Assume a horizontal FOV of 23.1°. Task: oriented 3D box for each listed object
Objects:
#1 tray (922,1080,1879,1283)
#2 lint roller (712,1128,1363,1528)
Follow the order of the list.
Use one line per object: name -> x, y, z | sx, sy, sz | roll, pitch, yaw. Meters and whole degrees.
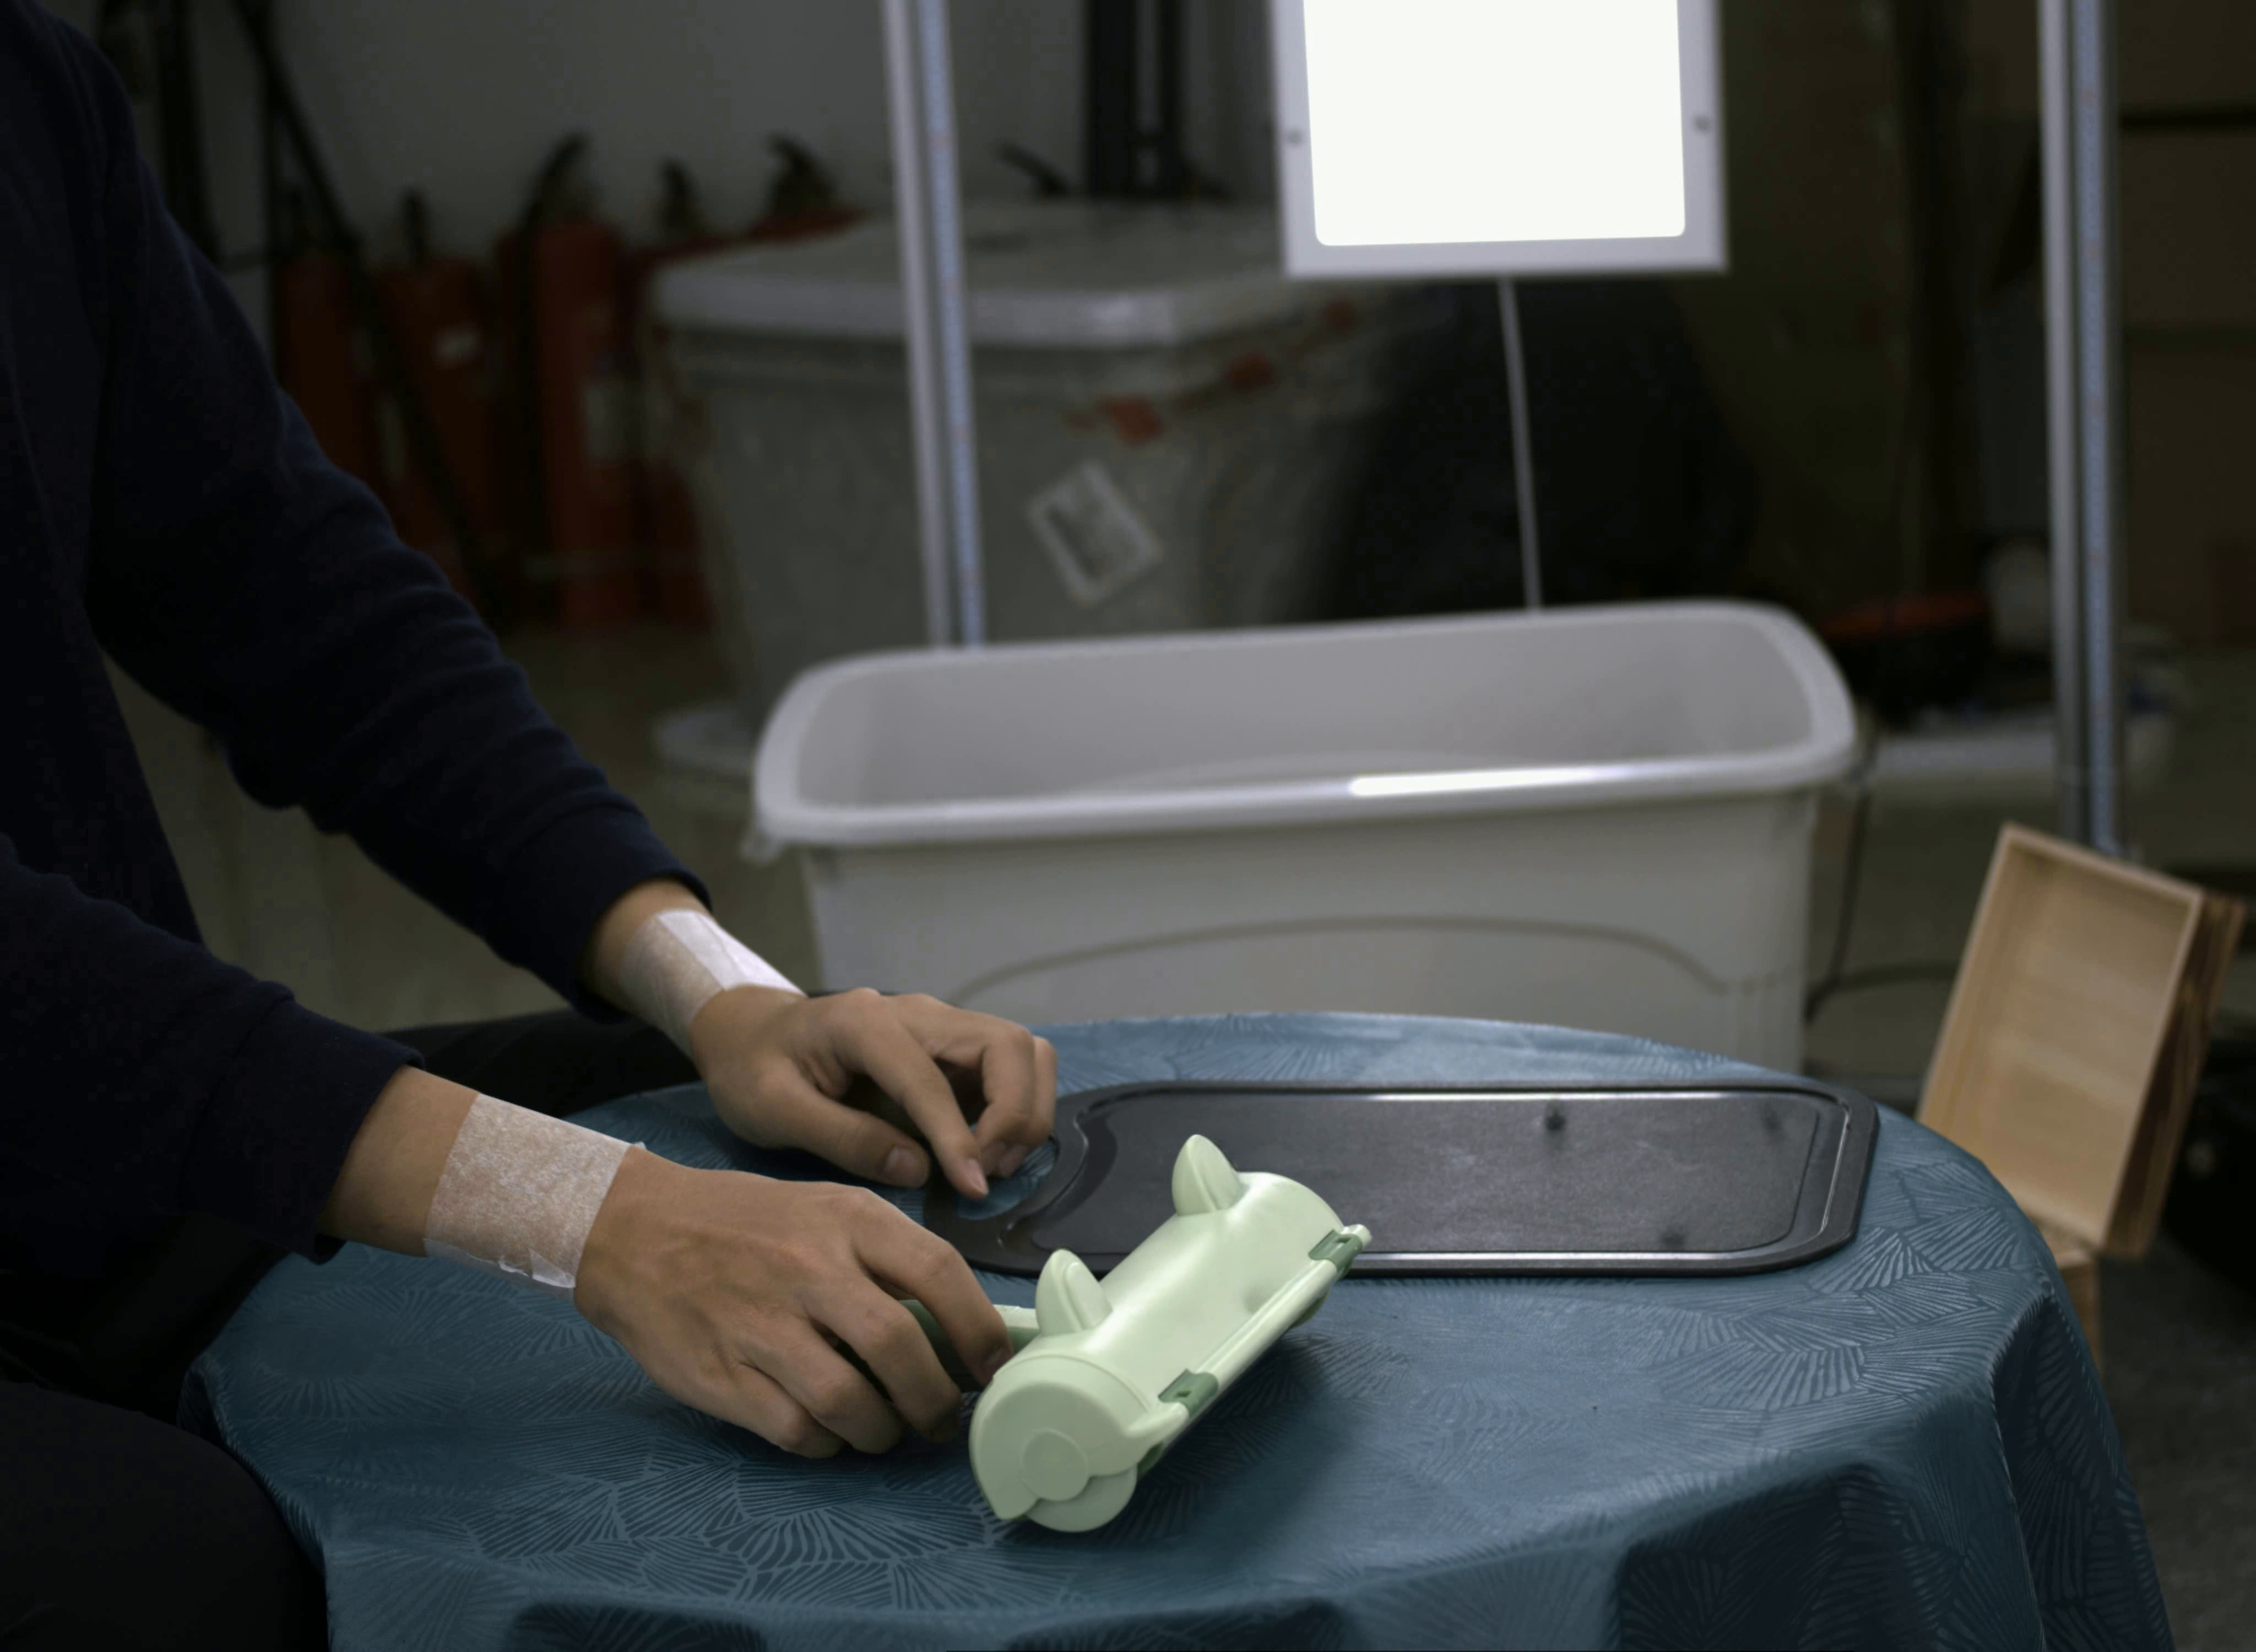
tray -> 0.091, 0.118, 1.883 | 0.328, 0.010, 0.208 | -1, 14, 14
lint roller -> -0.042, 0.141, 1.672 | 0.185, 0.082, 0.195 | 7, 16, 20
